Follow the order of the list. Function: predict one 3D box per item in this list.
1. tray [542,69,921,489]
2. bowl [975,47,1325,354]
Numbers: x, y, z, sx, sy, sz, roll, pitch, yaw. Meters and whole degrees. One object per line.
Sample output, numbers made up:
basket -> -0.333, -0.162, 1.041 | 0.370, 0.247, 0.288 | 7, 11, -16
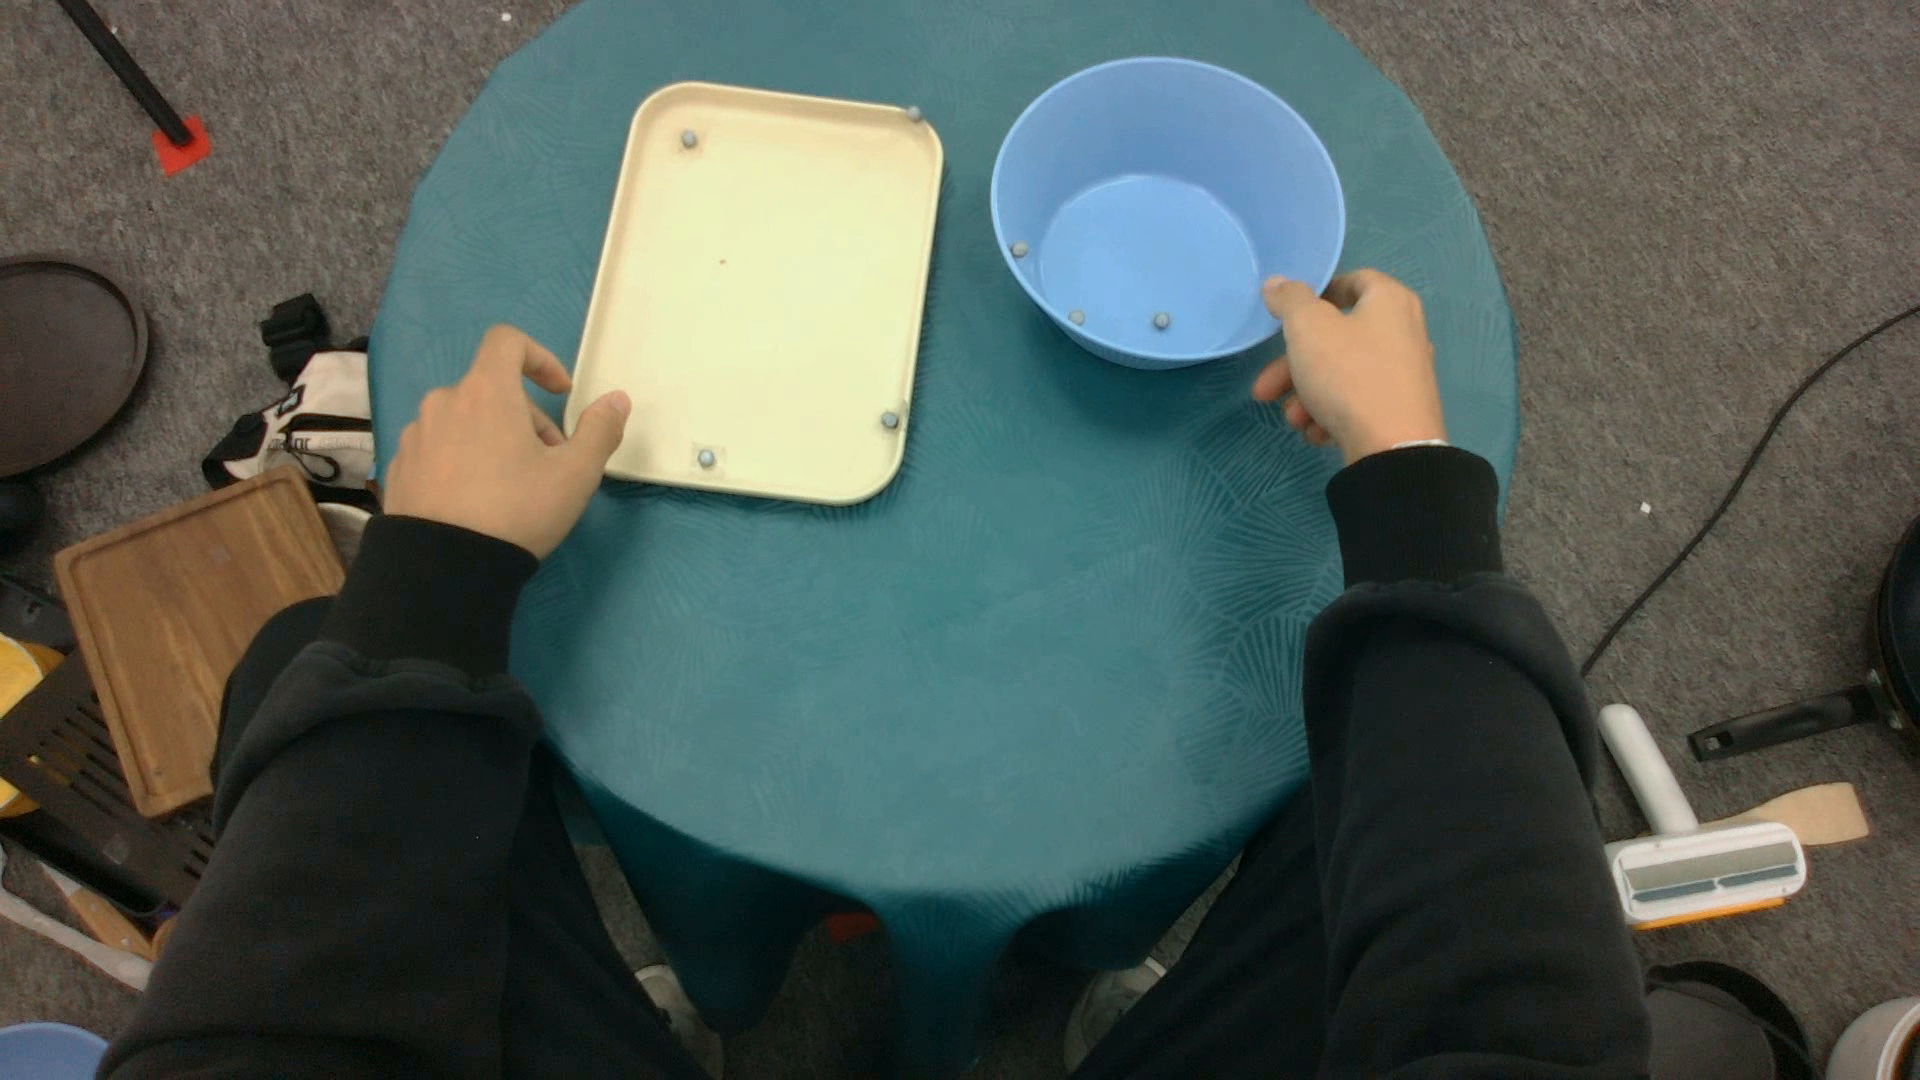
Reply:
tray -> -0.114, -0.140, 0.721 | 0.171, 0.017, 0.240 | 7, 69, -1
bowl -> 0.094, -0.164, 0.715 | 0.176, 0.070, 0.176 | 1, 69, -2
